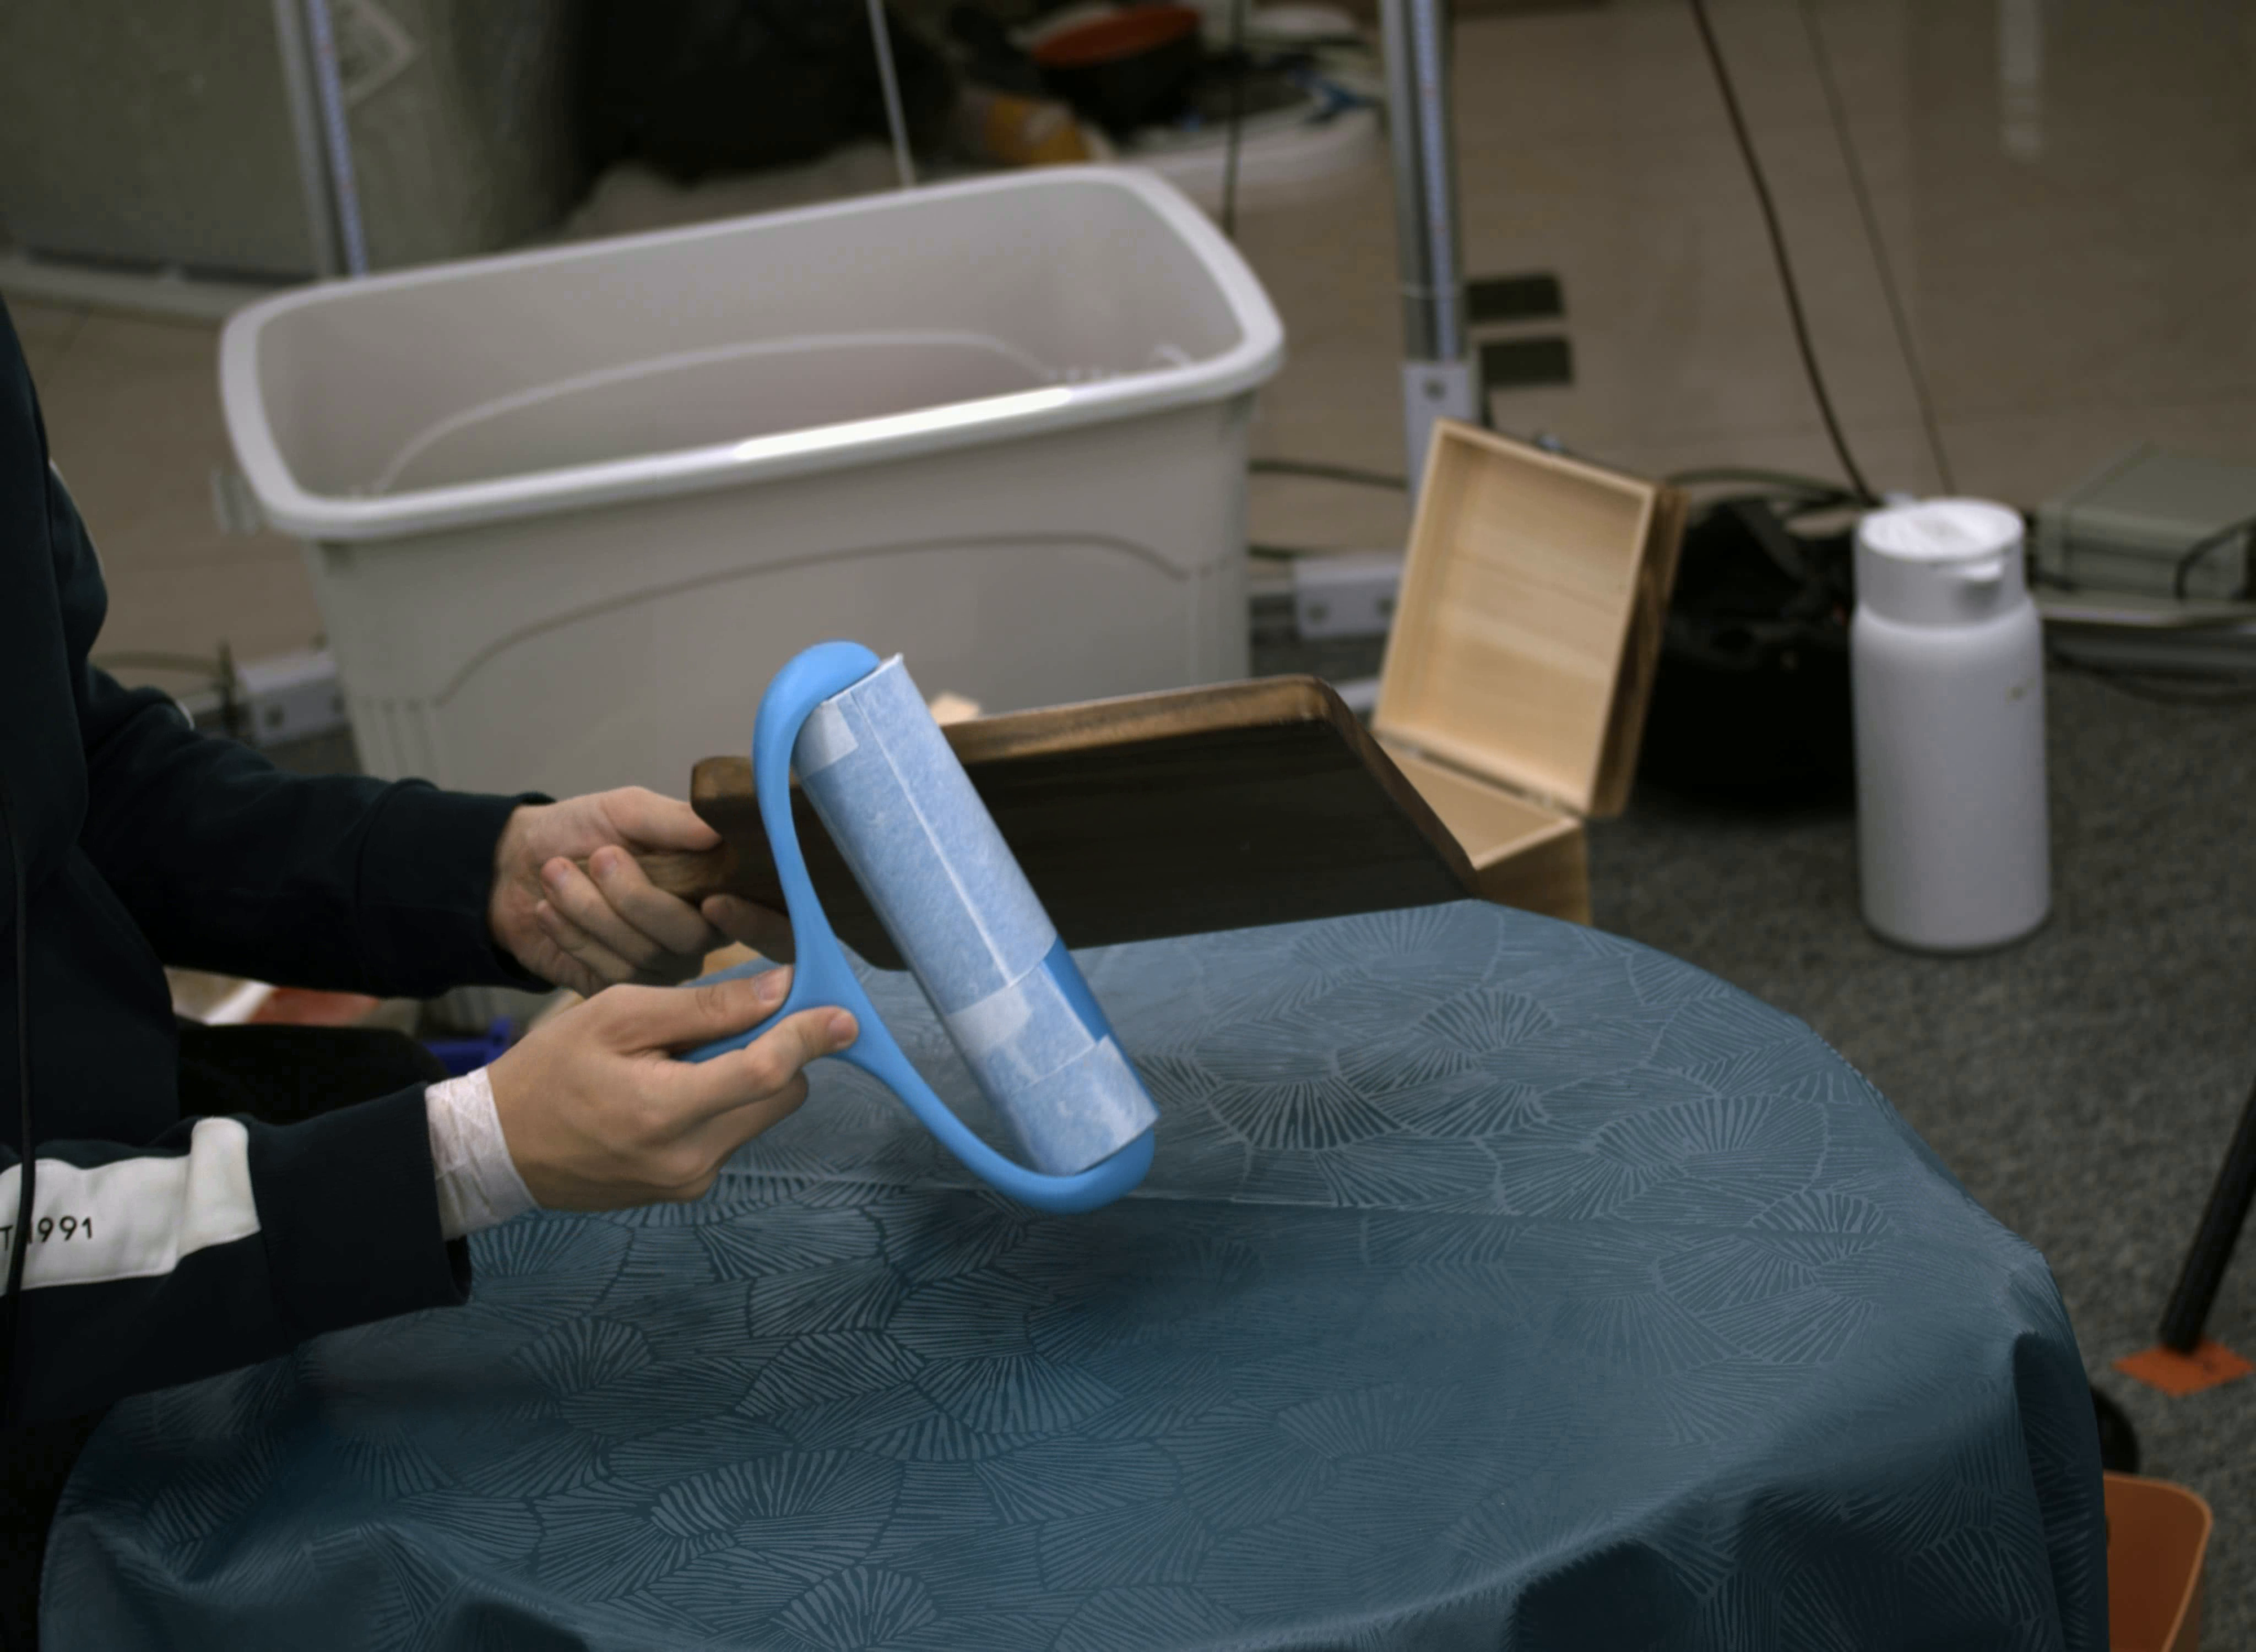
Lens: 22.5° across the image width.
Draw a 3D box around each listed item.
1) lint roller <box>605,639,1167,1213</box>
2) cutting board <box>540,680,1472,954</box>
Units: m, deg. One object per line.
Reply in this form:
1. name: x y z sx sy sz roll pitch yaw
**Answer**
1. lint roller: -0.107 0.067 2.035 0.180 0.230 0.067 -33 8 -1
2. cutting board: -0.061 0.009 2.157 0.352 0.203 0.023 -7 67 18
